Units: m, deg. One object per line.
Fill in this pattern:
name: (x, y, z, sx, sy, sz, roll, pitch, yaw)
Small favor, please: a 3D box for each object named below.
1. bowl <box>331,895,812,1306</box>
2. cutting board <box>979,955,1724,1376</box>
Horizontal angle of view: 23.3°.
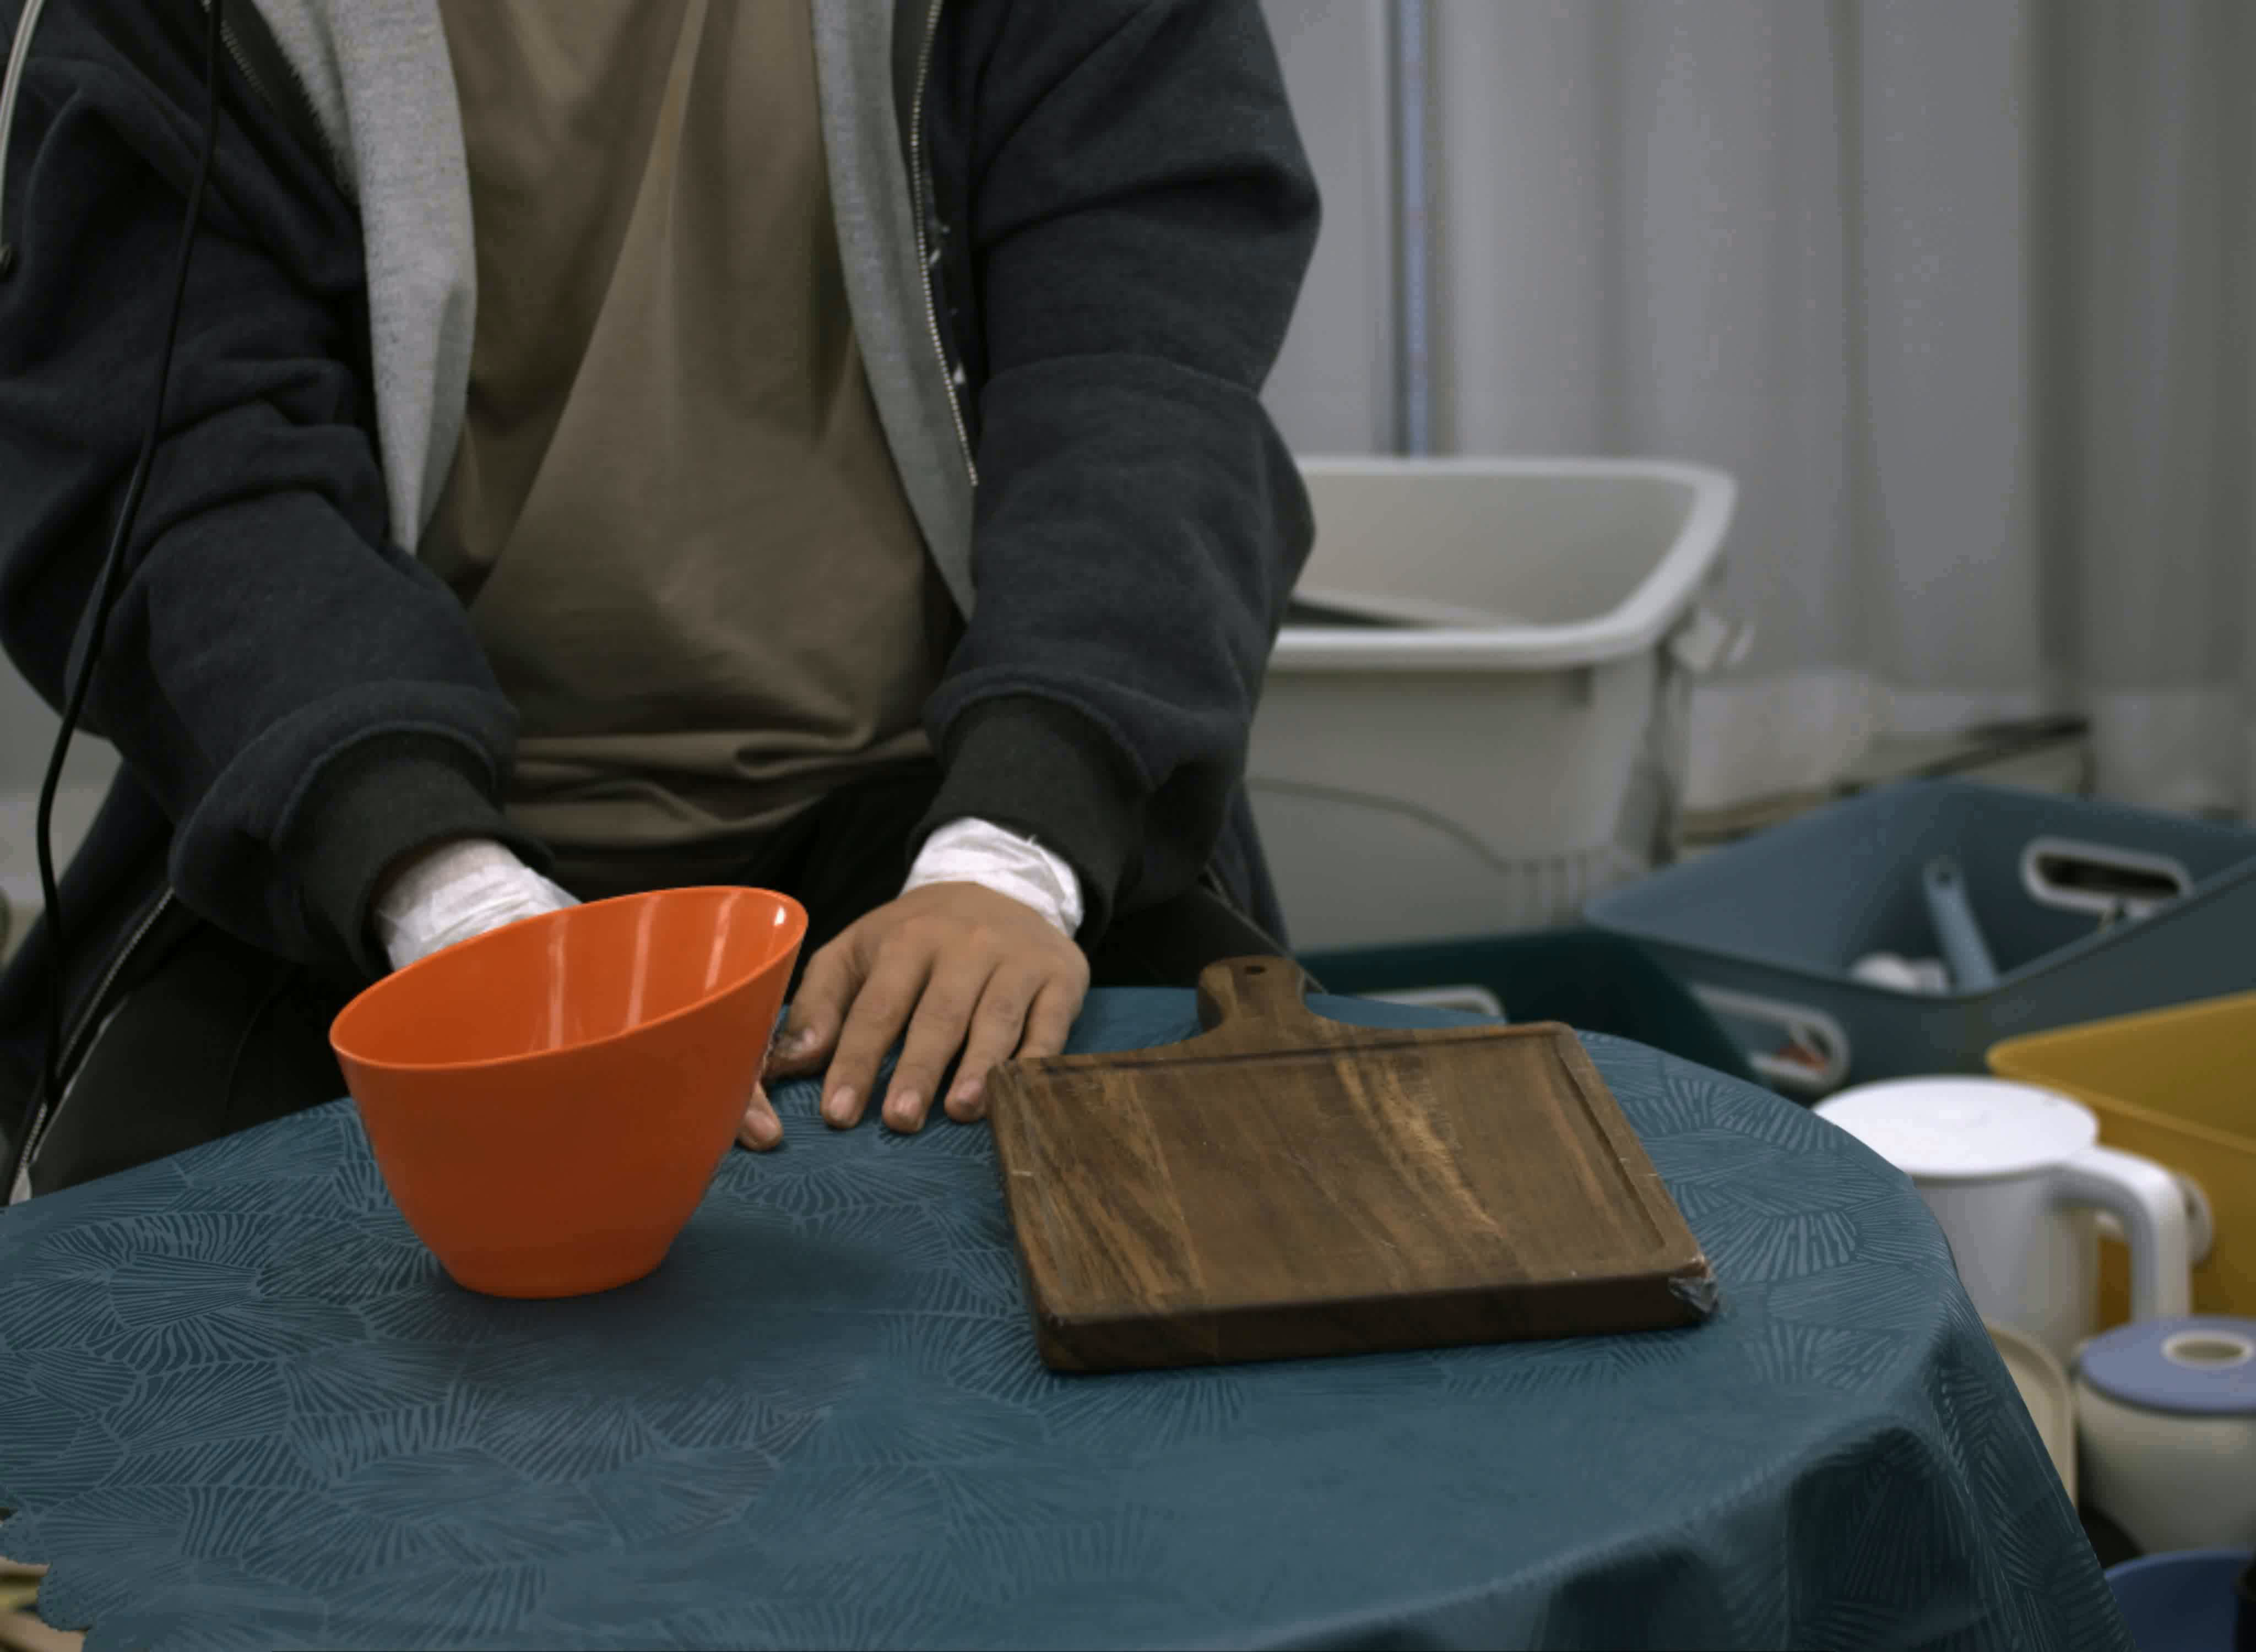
bowl: (-0.166, 0.086, 1.665, 0.147, 0.104, 0.149, -3, 14, 0)
cutting board: (0.057, 0.098, 1.729, 0.200, 0.023, 0.355, -4, 15, -5)
